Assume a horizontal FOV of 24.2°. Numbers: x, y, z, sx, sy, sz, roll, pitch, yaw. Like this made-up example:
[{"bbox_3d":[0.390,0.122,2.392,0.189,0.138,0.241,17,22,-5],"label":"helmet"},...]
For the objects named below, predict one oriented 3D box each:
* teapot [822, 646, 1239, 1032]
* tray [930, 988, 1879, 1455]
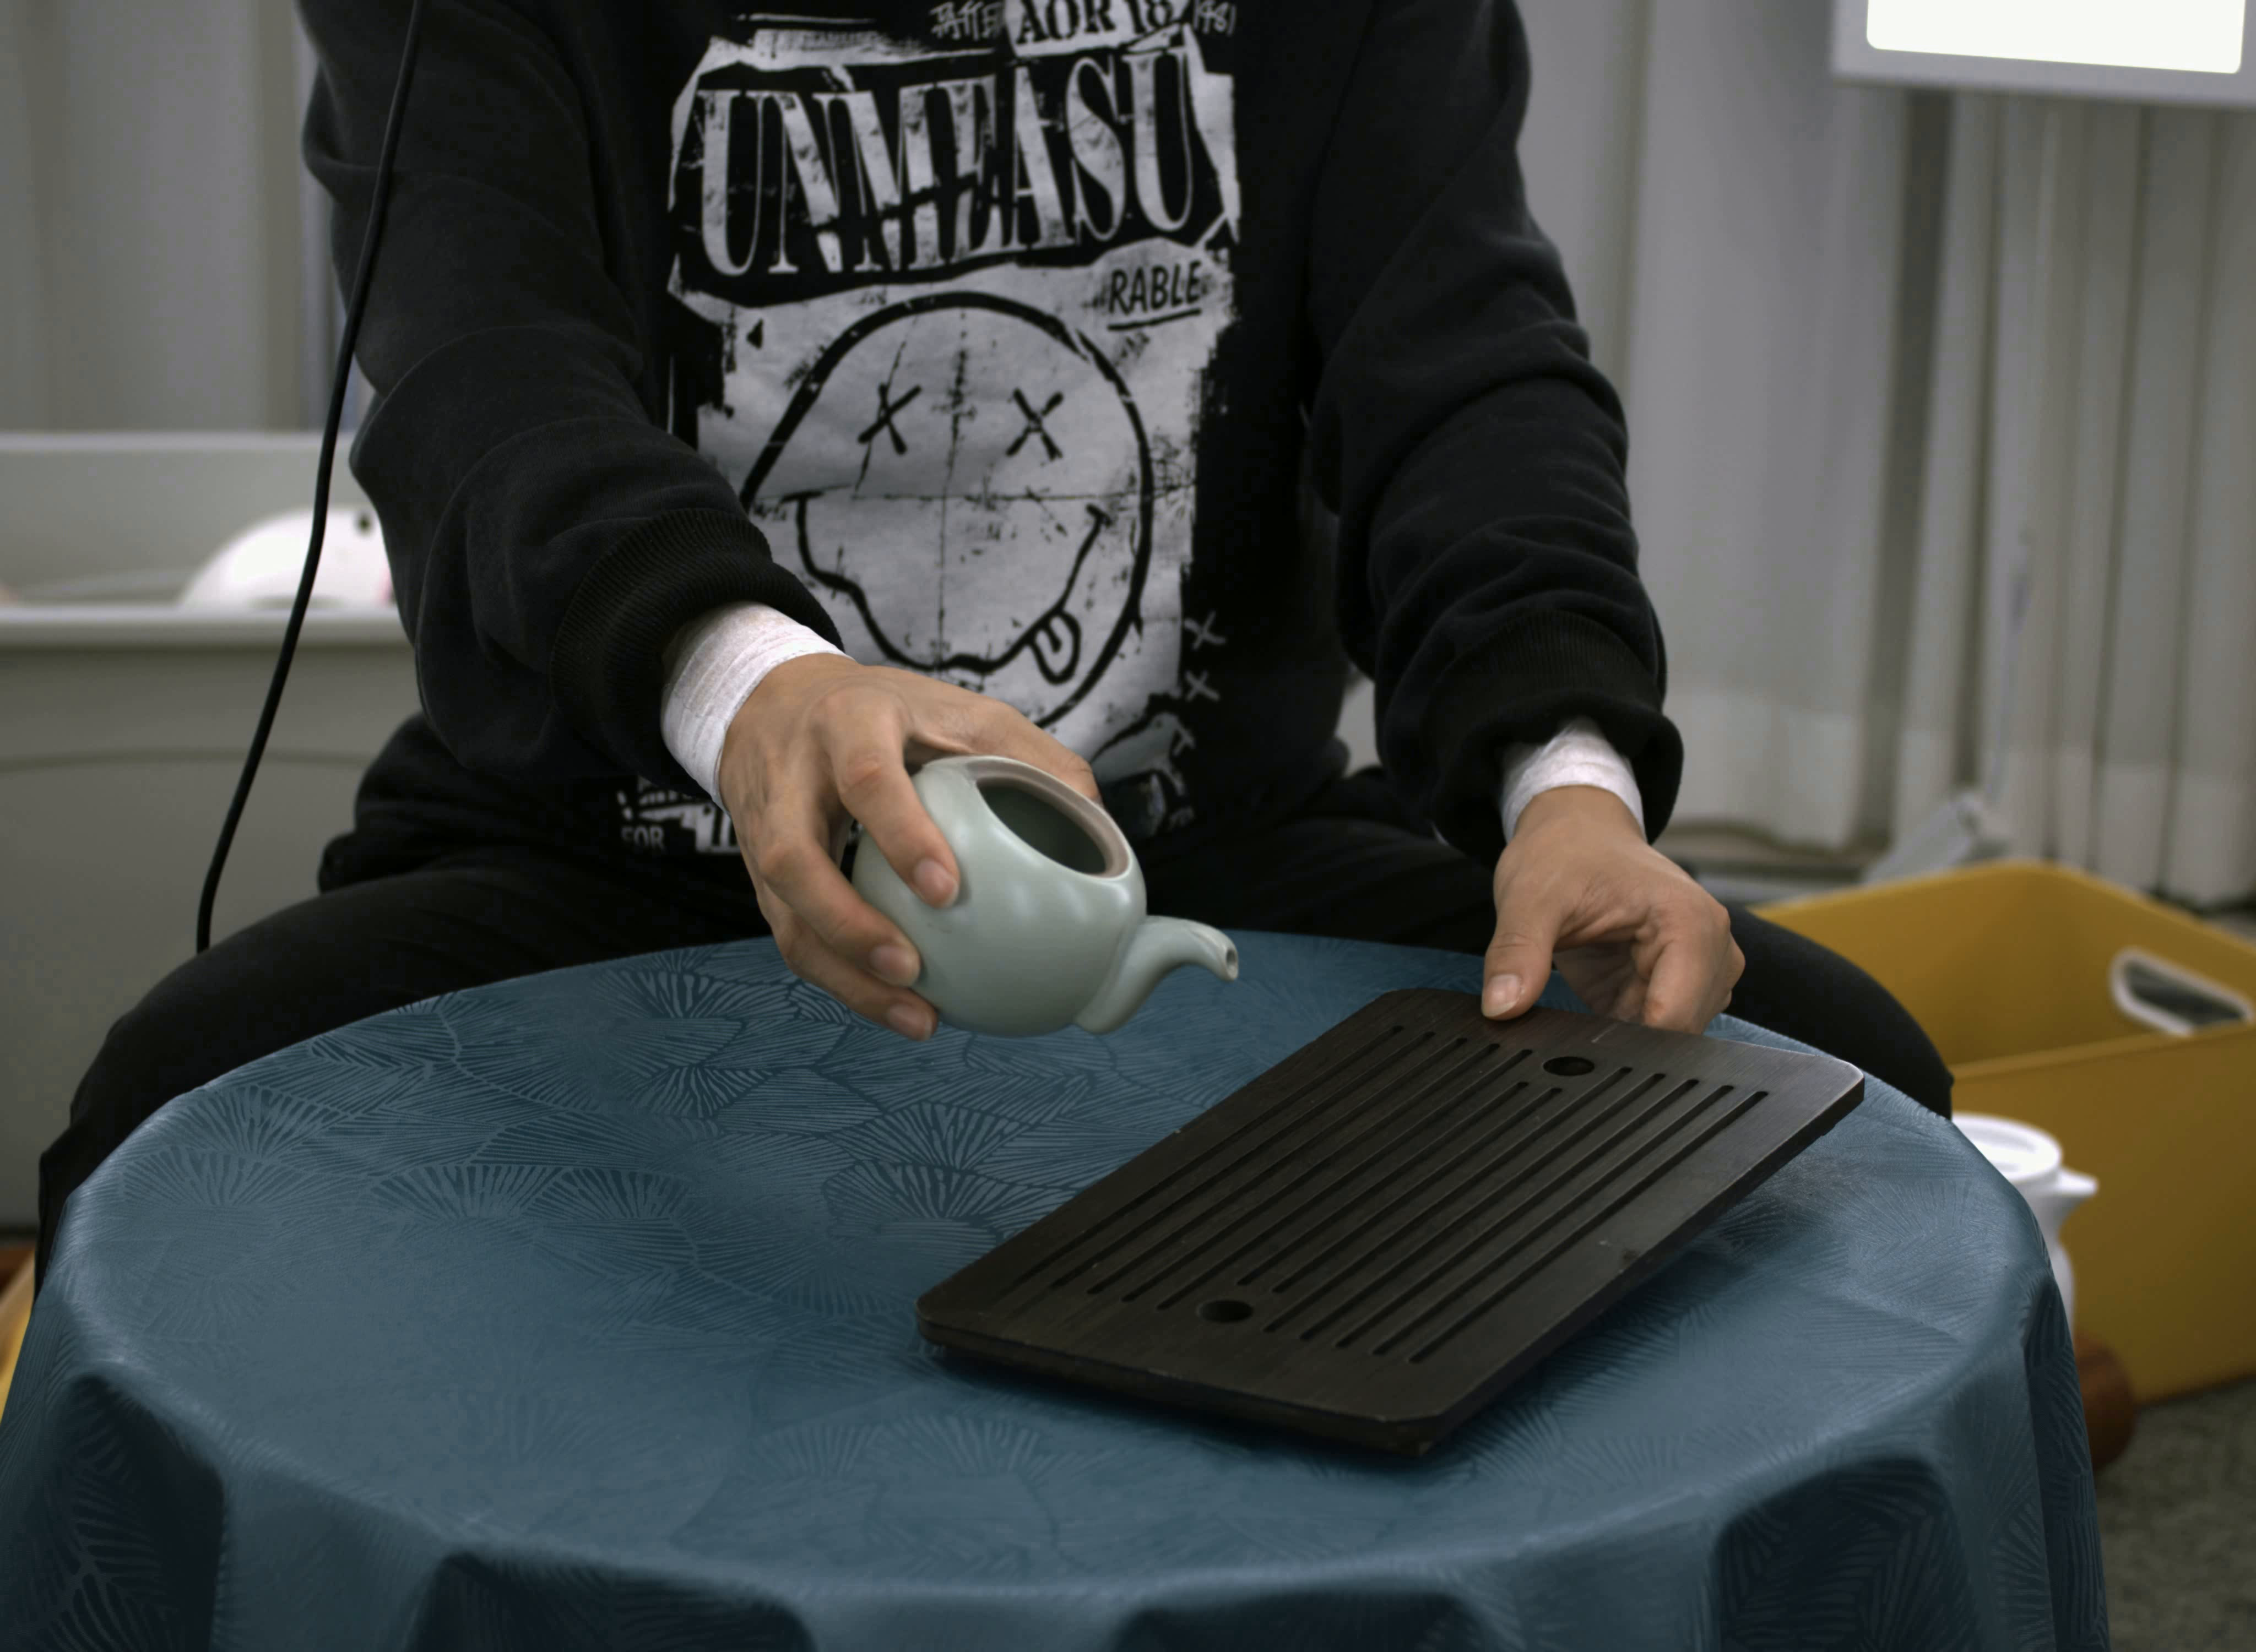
[{"bbox_3d":[-0.038,0.018,1.546,0.143,0.075,0.088,42,23,11],"label":"teapot"},{"bbox_3d":[0.089,0.113,1.560,0.168,0.019,0.306,9,21,29],"label":"tray"}]
